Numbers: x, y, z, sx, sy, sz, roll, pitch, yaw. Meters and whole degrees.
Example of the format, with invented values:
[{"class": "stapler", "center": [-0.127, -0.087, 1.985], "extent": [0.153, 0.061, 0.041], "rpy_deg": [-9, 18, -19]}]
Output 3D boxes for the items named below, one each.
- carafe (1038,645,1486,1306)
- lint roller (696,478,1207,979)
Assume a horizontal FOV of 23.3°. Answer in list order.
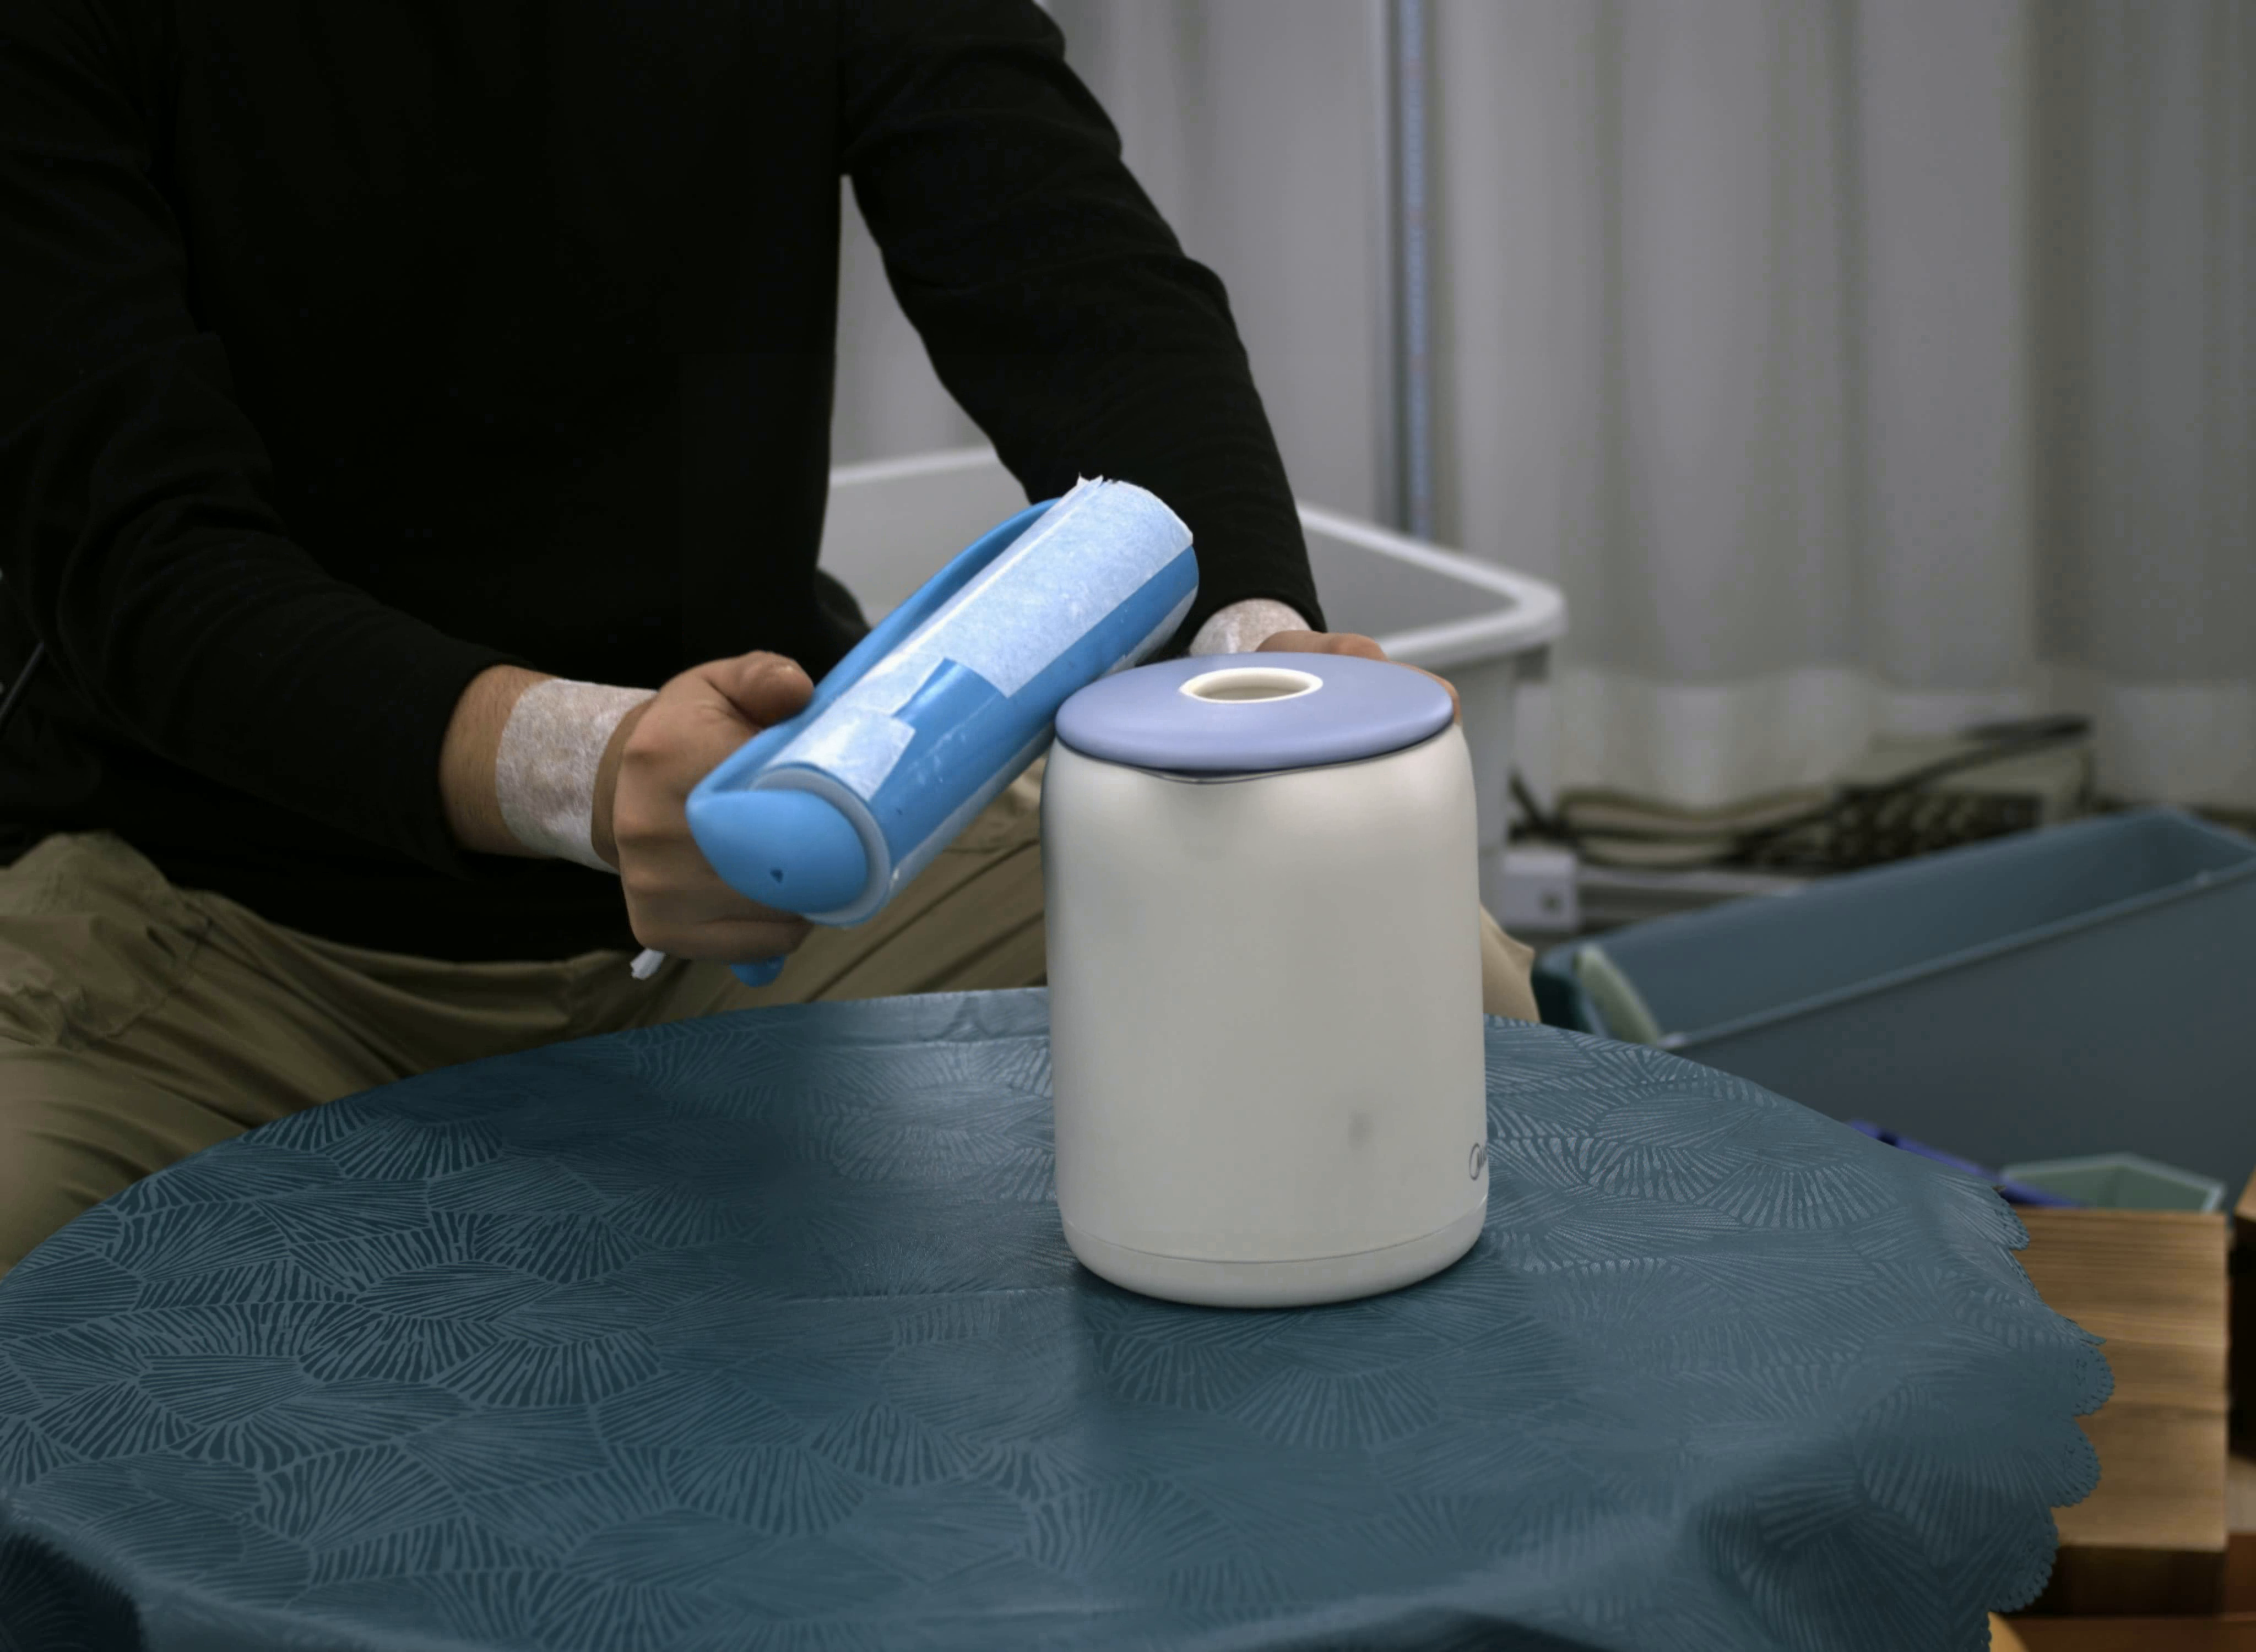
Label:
[{"class": "carafe", "center": [0.046, 0.038, 1.661], "extent": [0.132, 0.182, 0.192], "rpy_deg": [1, 13, 12]}, {"class": "lint roller", "center": [-0.082, -0.015, 1.679], "extent": [0.179, 0.068, 0.230], "rpy_deg": [-35, 7, 39]}]
